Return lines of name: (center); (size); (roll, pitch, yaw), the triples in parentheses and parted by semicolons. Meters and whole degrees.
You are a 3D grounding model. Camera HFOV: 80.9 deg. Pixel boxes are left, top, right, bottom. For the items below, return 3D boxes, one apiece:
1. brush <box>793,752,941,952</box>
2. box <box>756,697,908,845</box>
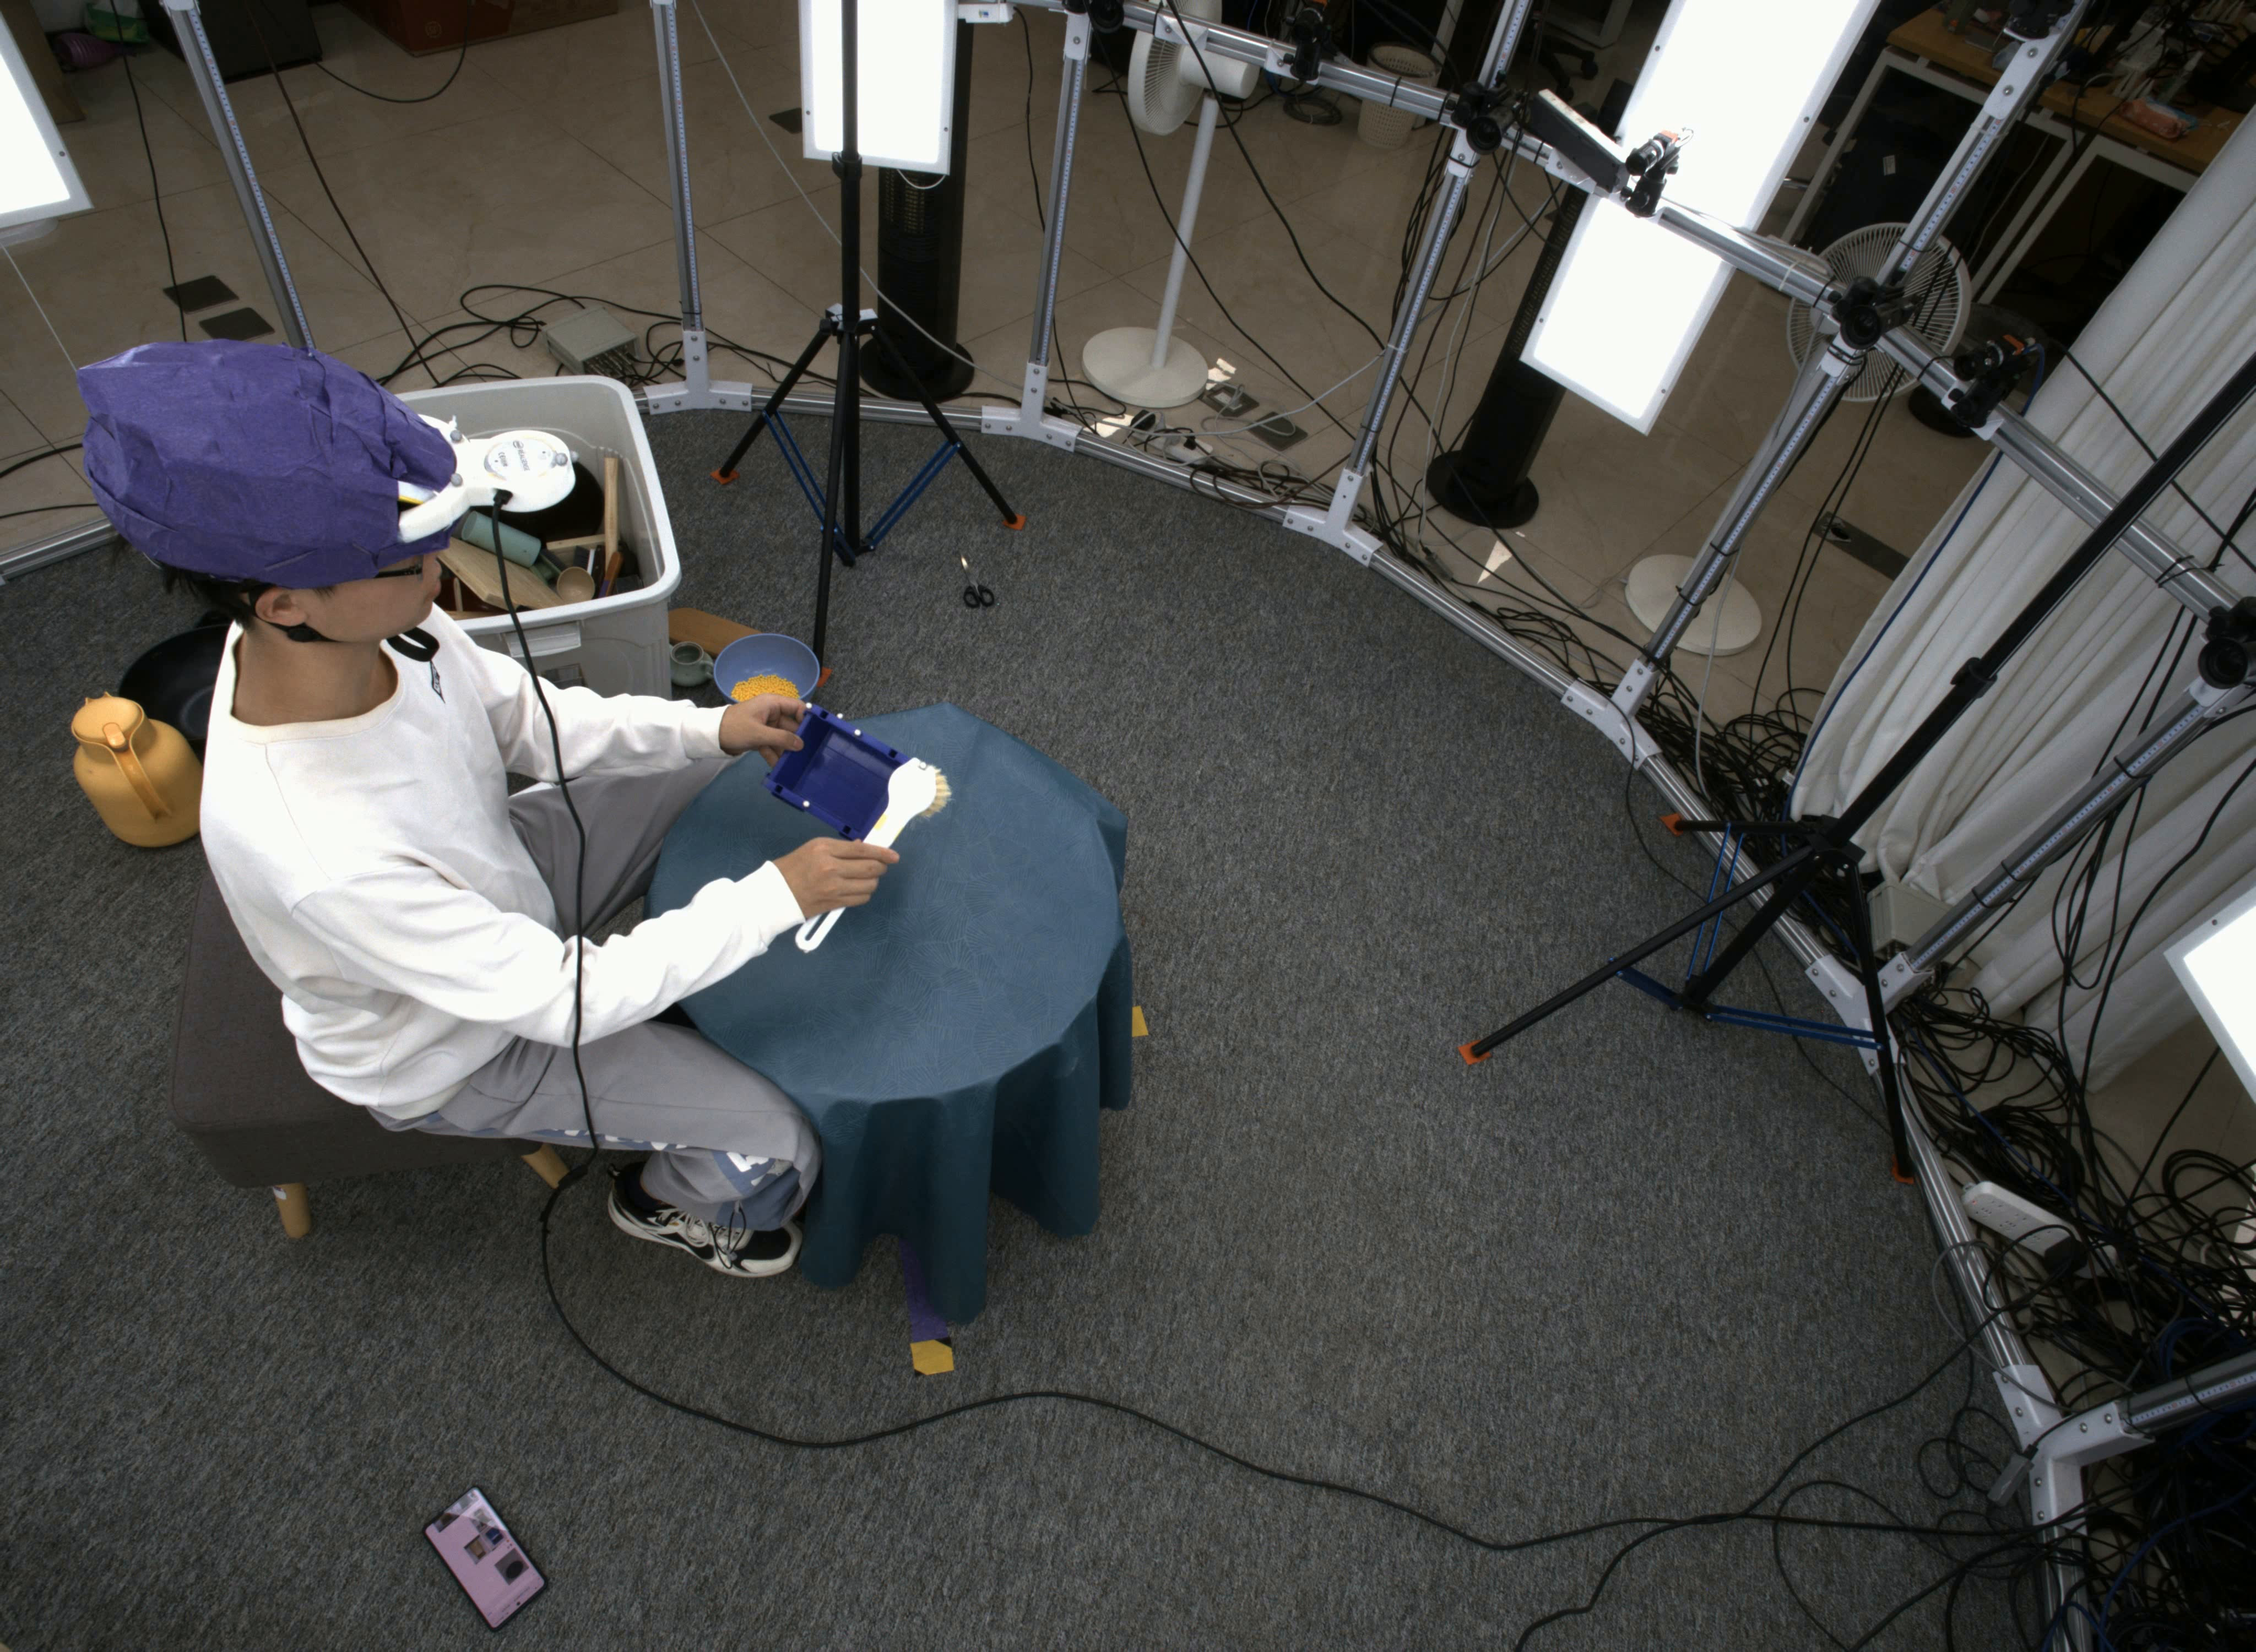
brush: (-0.310, 0.033, 1.534); (0.066, 0.057, 0.267); (28, 86, 22)
box: (-0.370, -0.068, 1.625); (0.177, 0.083, 0.125); (30, 86, 8)
